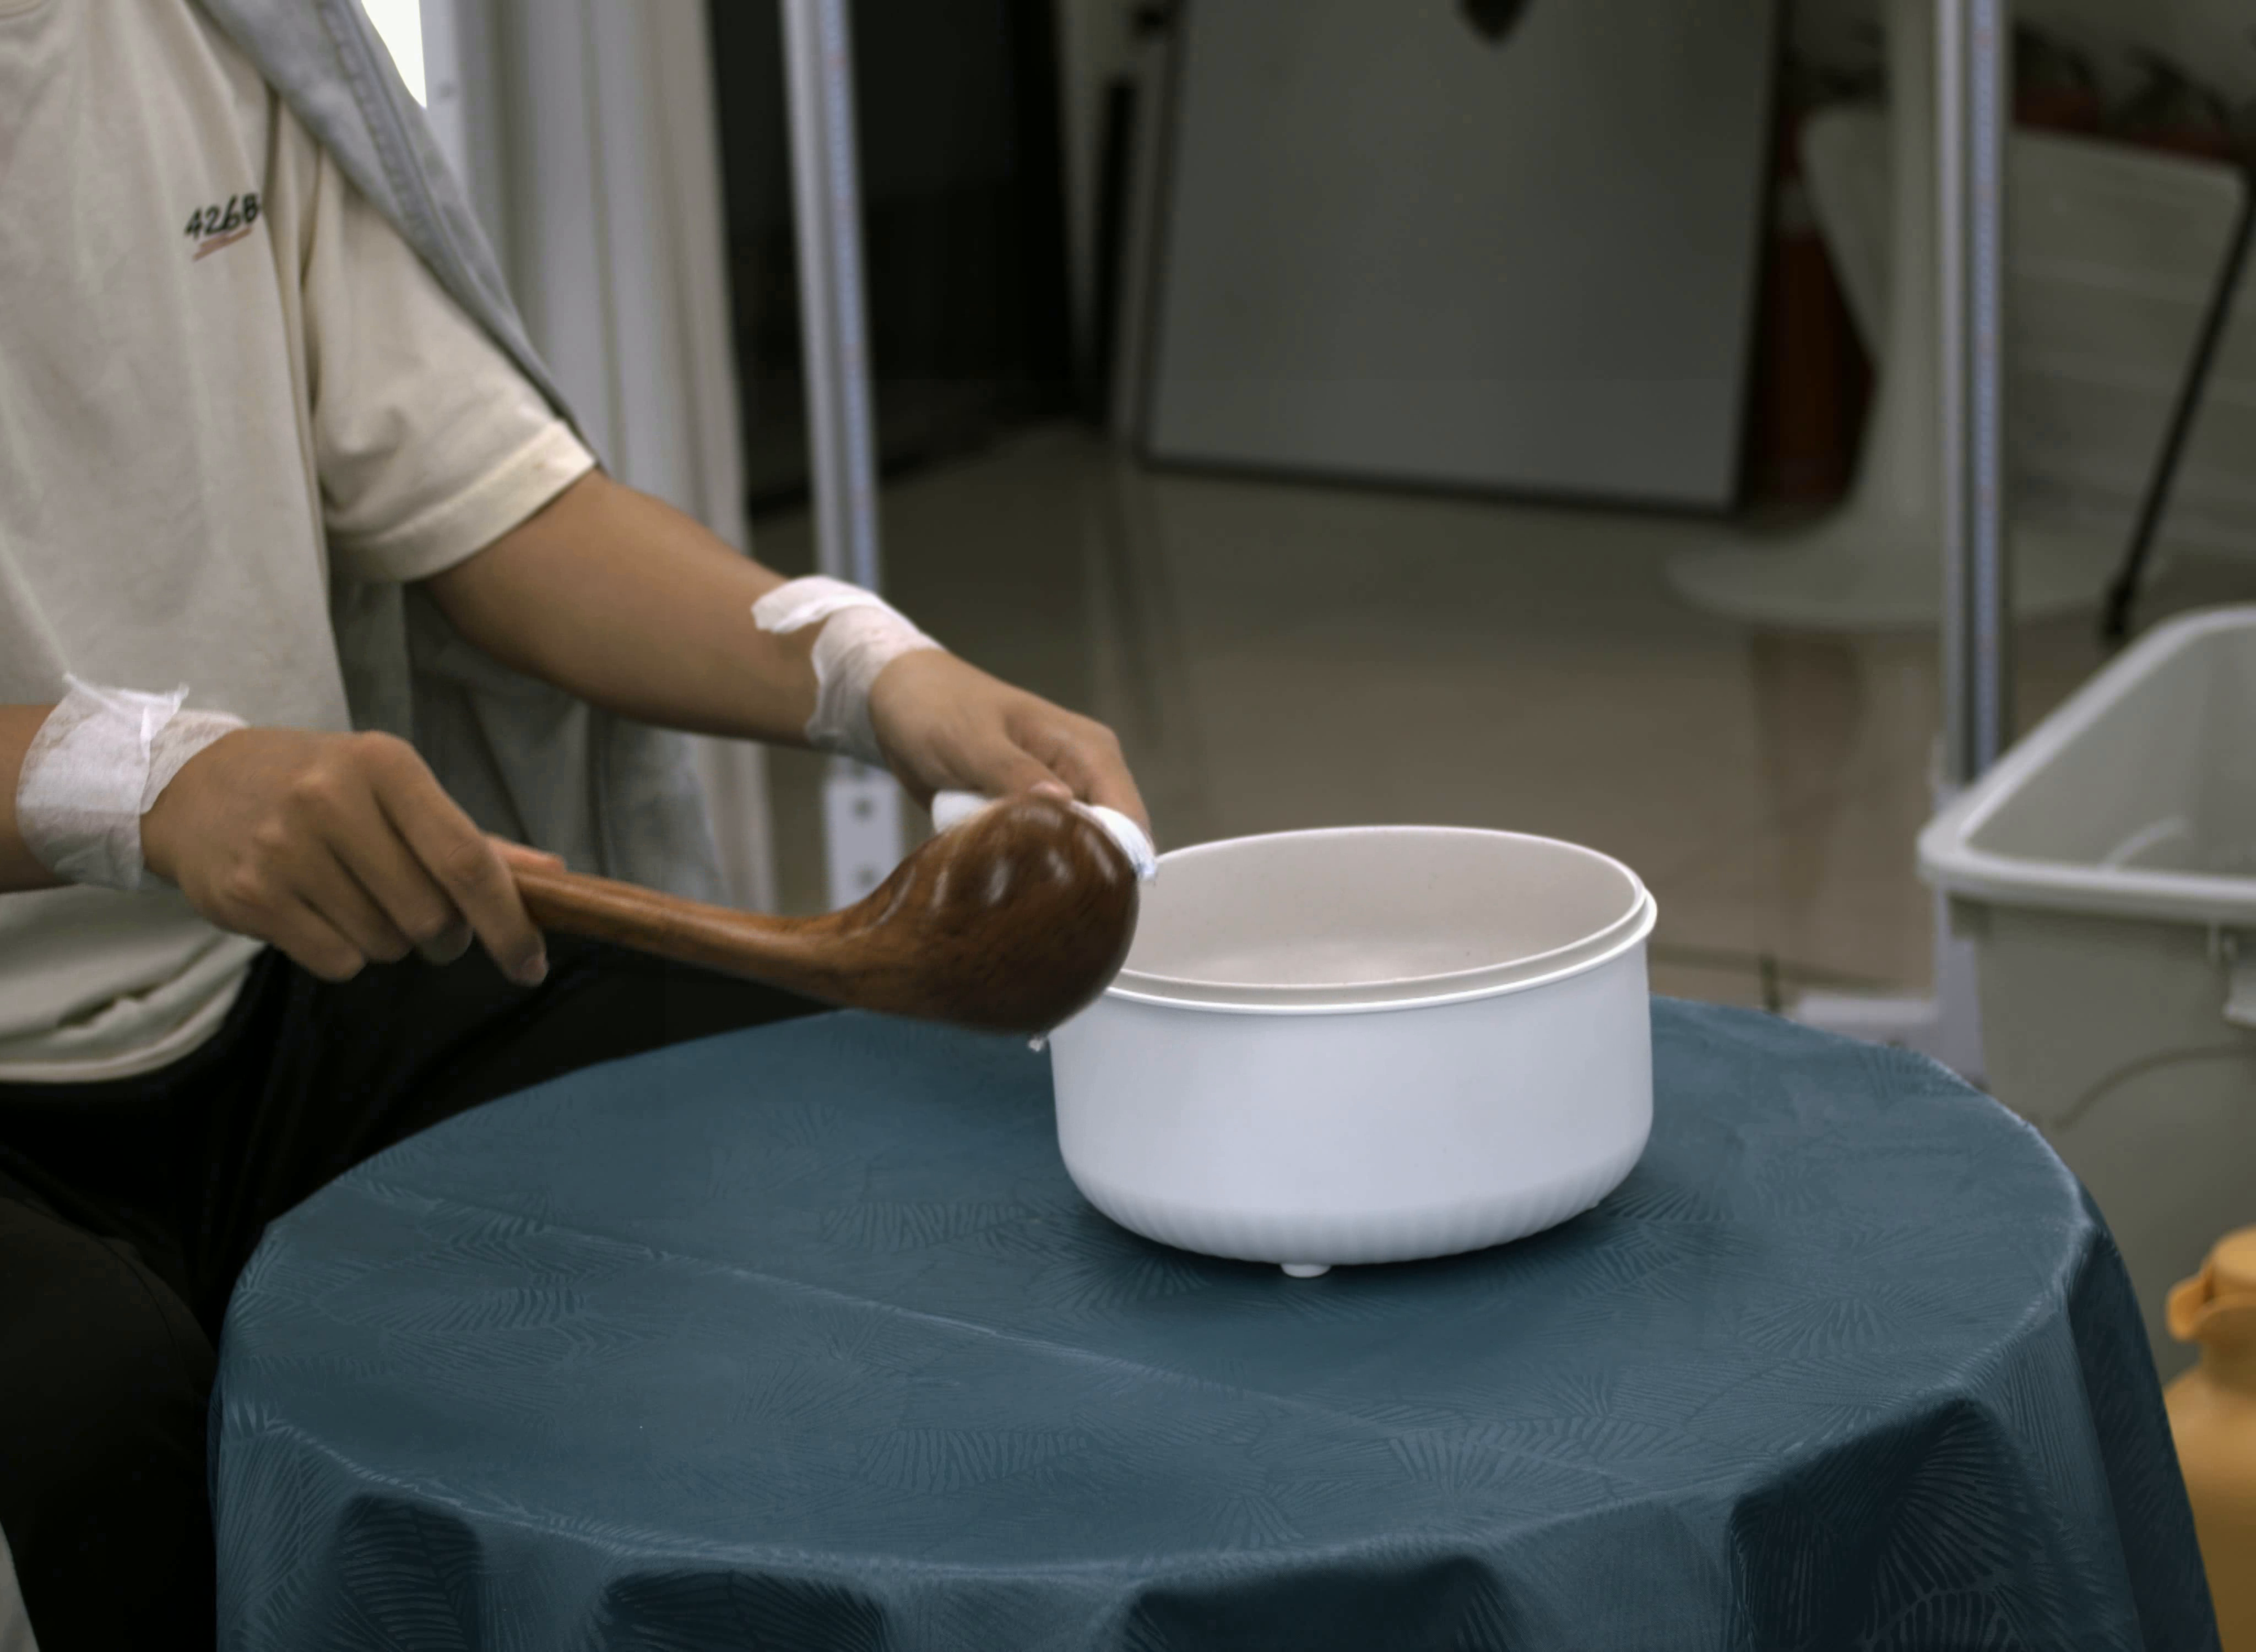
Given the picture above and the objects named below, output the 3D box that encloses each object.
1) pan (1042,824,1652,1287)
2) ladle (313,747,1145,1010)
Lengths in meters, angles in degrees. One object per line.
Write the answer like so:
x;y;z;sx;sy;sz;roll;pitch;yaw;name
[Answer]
0.035;0.062;1.803;0.197;0.103;0.358;-12;15;-27;pan
-0.121;0.008;1.633;0.275;0.082;0.076;6;38;33;ladle
